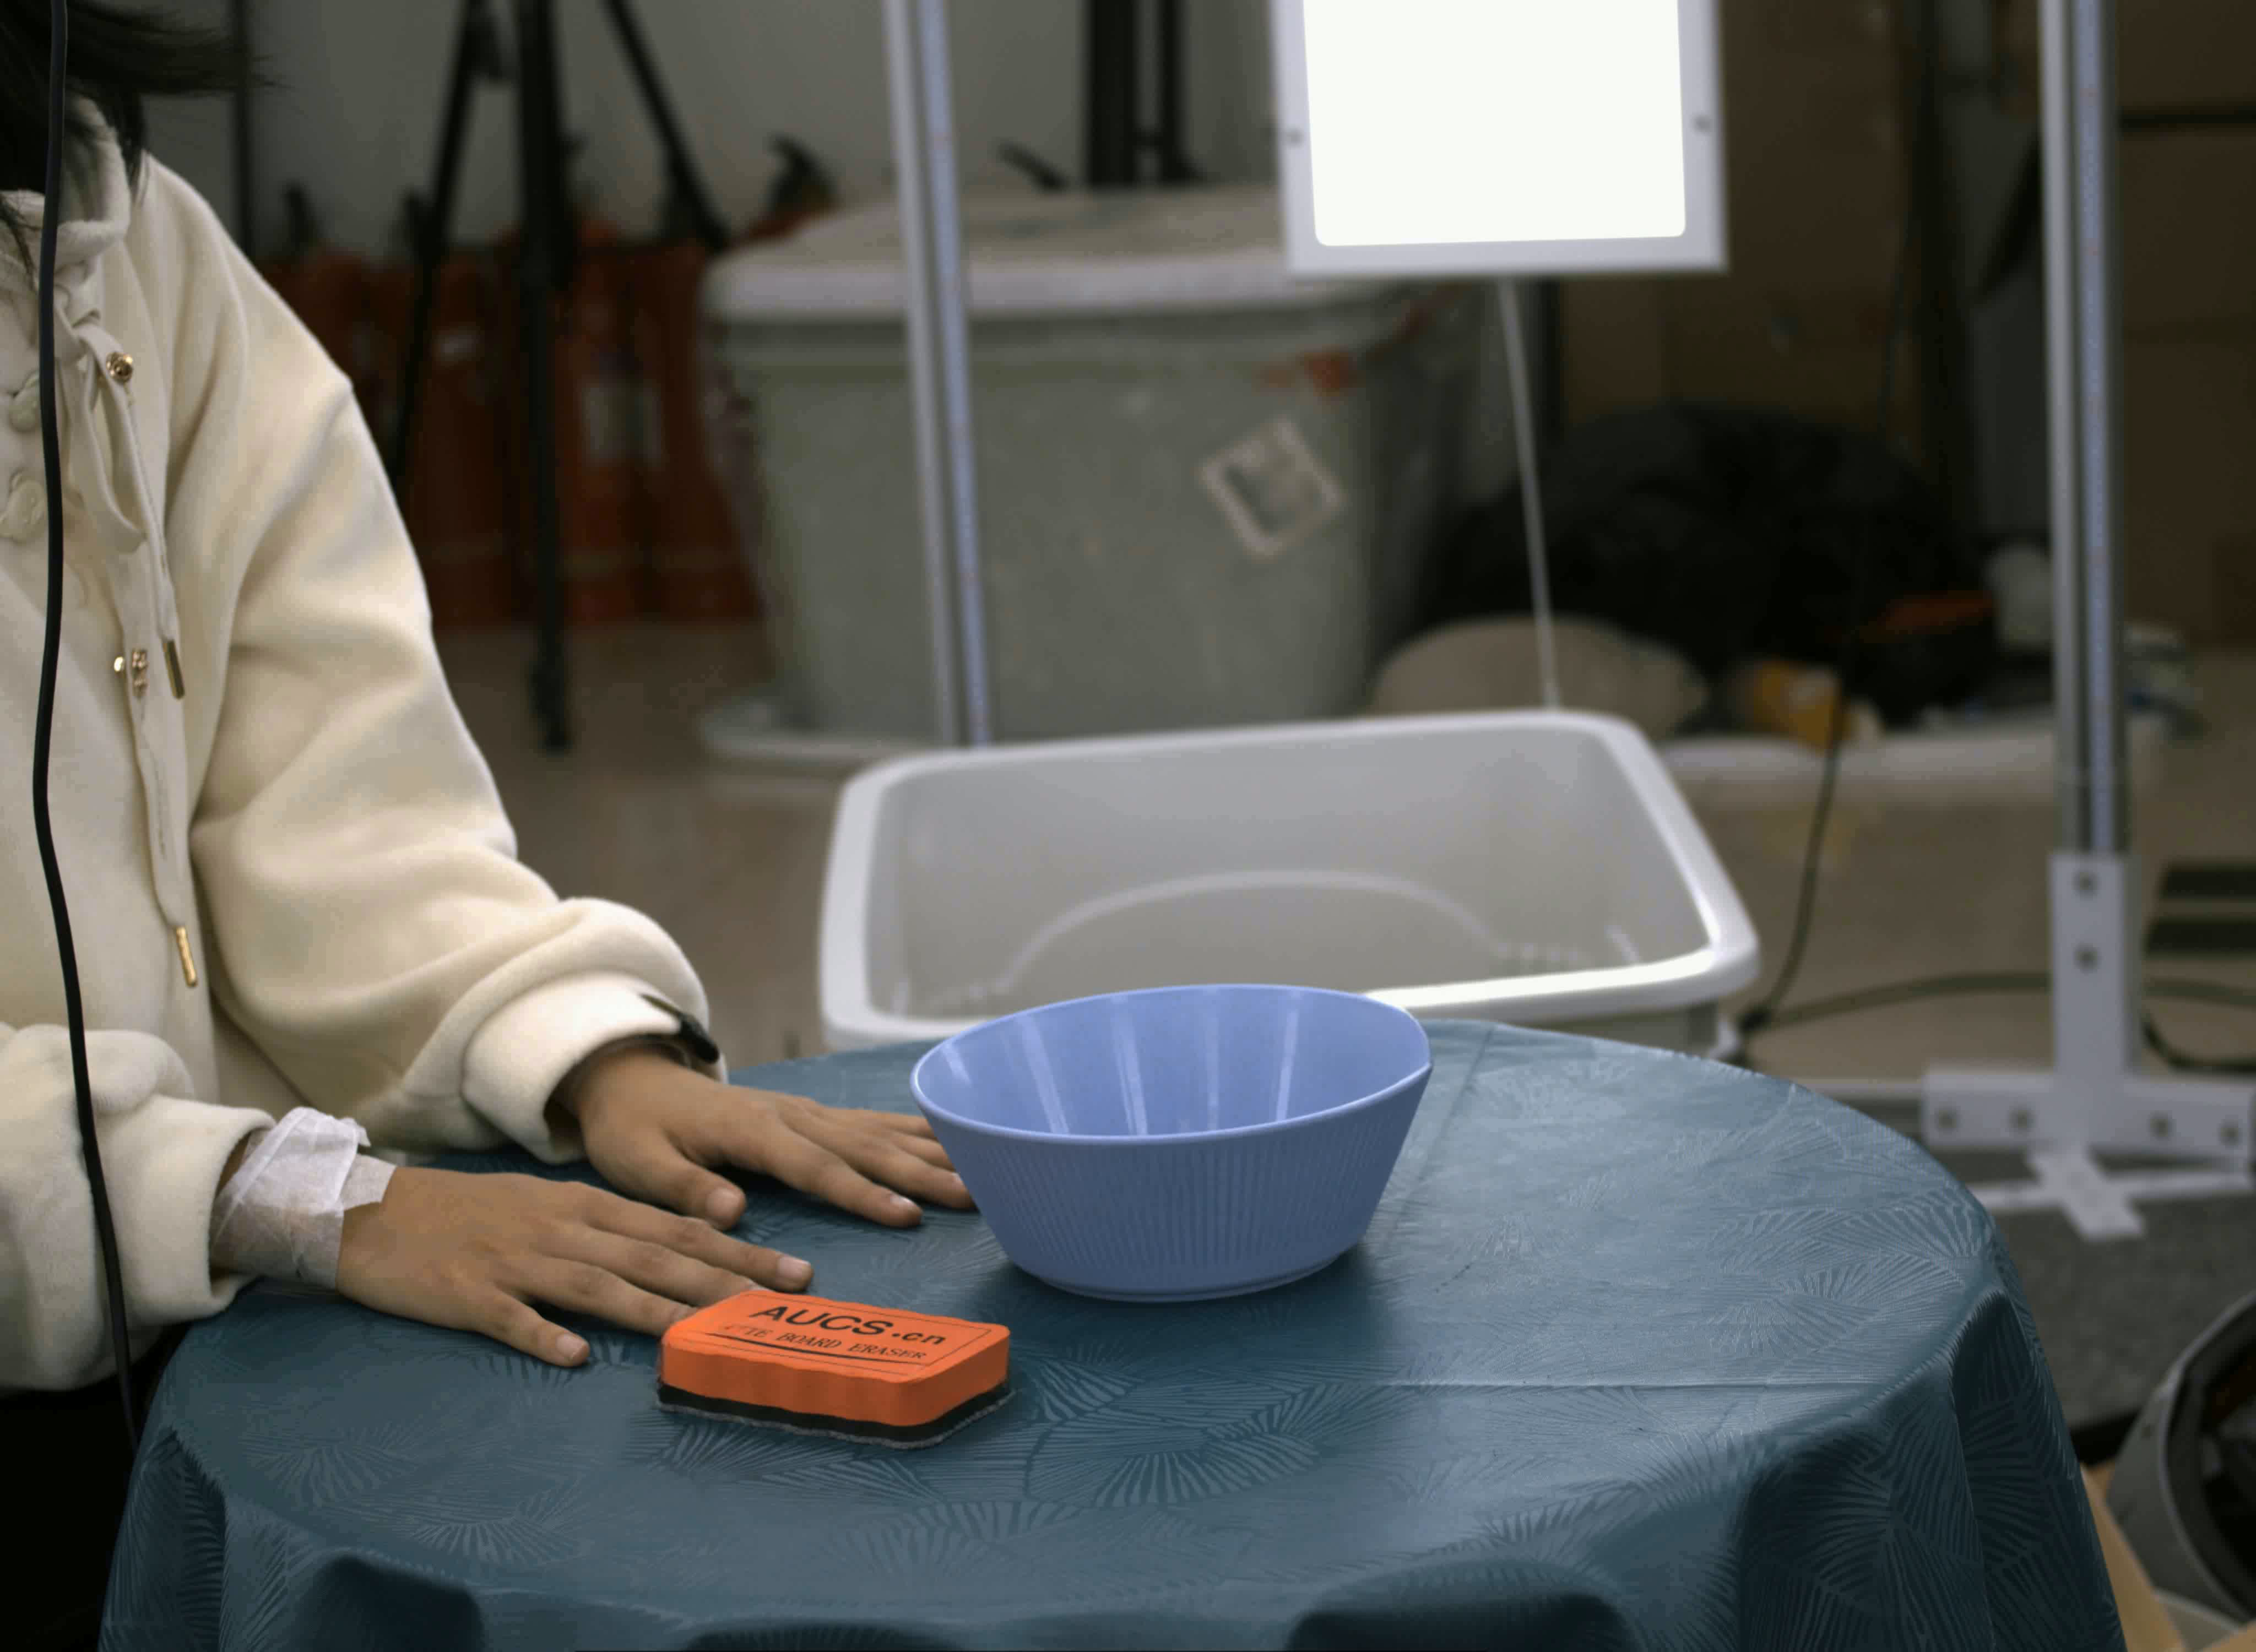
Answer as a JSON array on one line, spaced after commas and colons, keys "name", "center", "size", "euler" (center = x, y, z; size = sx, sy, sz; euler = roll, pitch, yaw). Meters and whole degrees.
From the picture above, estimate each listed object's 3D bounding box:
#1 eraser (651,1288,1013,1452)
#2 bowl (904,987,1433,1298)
[{"name": "eraser", "center": [-0.092, 0.168, 1.713], "size": [0.110, 0.023, 0.057], "euler": [5, 19, 36]}, {"name": "bowl", "center": [0.015, 0.107, 1.822], "size": [0.175, 0.070, 0.176], "euler": [-5, 14, 0]}]
